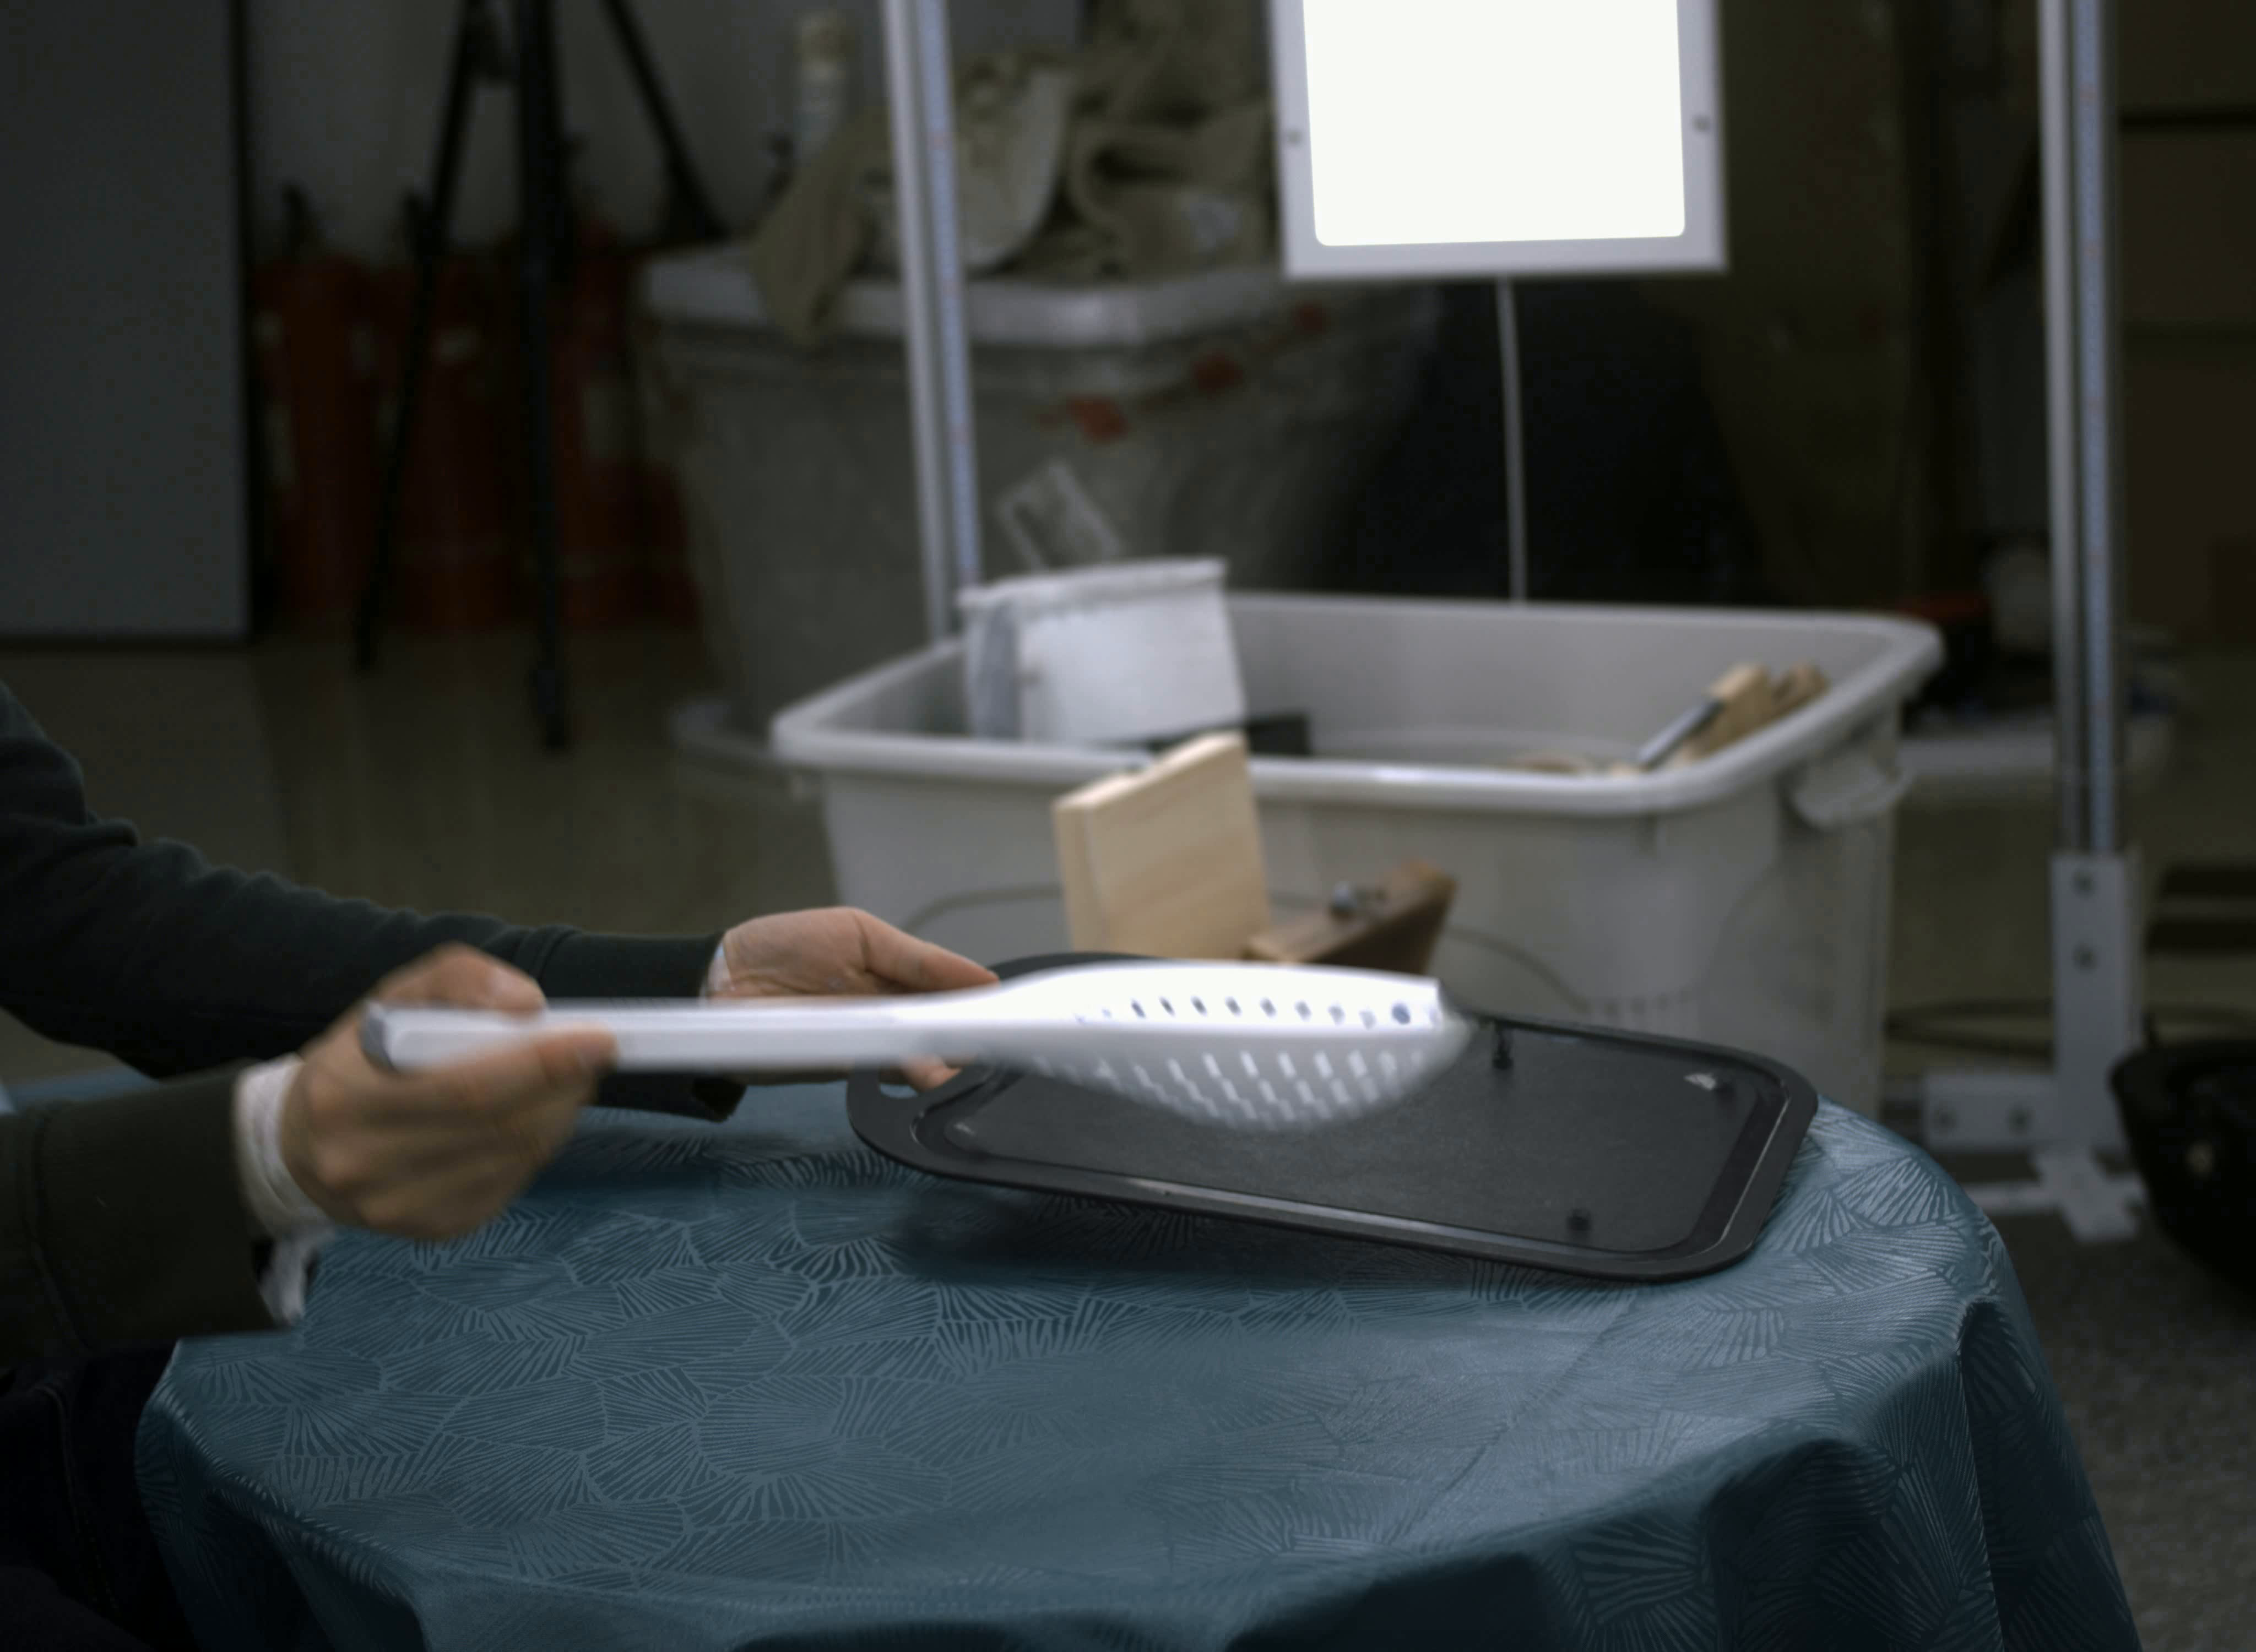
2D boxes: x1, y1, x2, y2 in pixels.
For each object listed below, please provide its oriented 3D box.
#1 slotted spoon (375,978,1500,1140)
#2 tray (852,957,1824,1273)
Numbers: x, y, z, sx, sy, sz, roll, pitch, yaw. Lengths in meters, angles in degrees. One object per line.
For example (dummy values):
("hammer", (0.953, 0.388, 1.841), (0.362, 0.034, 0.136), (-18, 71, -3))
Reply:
("slotted spoon", (-0.051, 0.062, 1.608), (0.342, 0.046, 0.138), (5, 3, -26))
("tray", (0.068, 0.094, 1.881), (0.329, 0.010, 0.207), (7, 21, 17))
